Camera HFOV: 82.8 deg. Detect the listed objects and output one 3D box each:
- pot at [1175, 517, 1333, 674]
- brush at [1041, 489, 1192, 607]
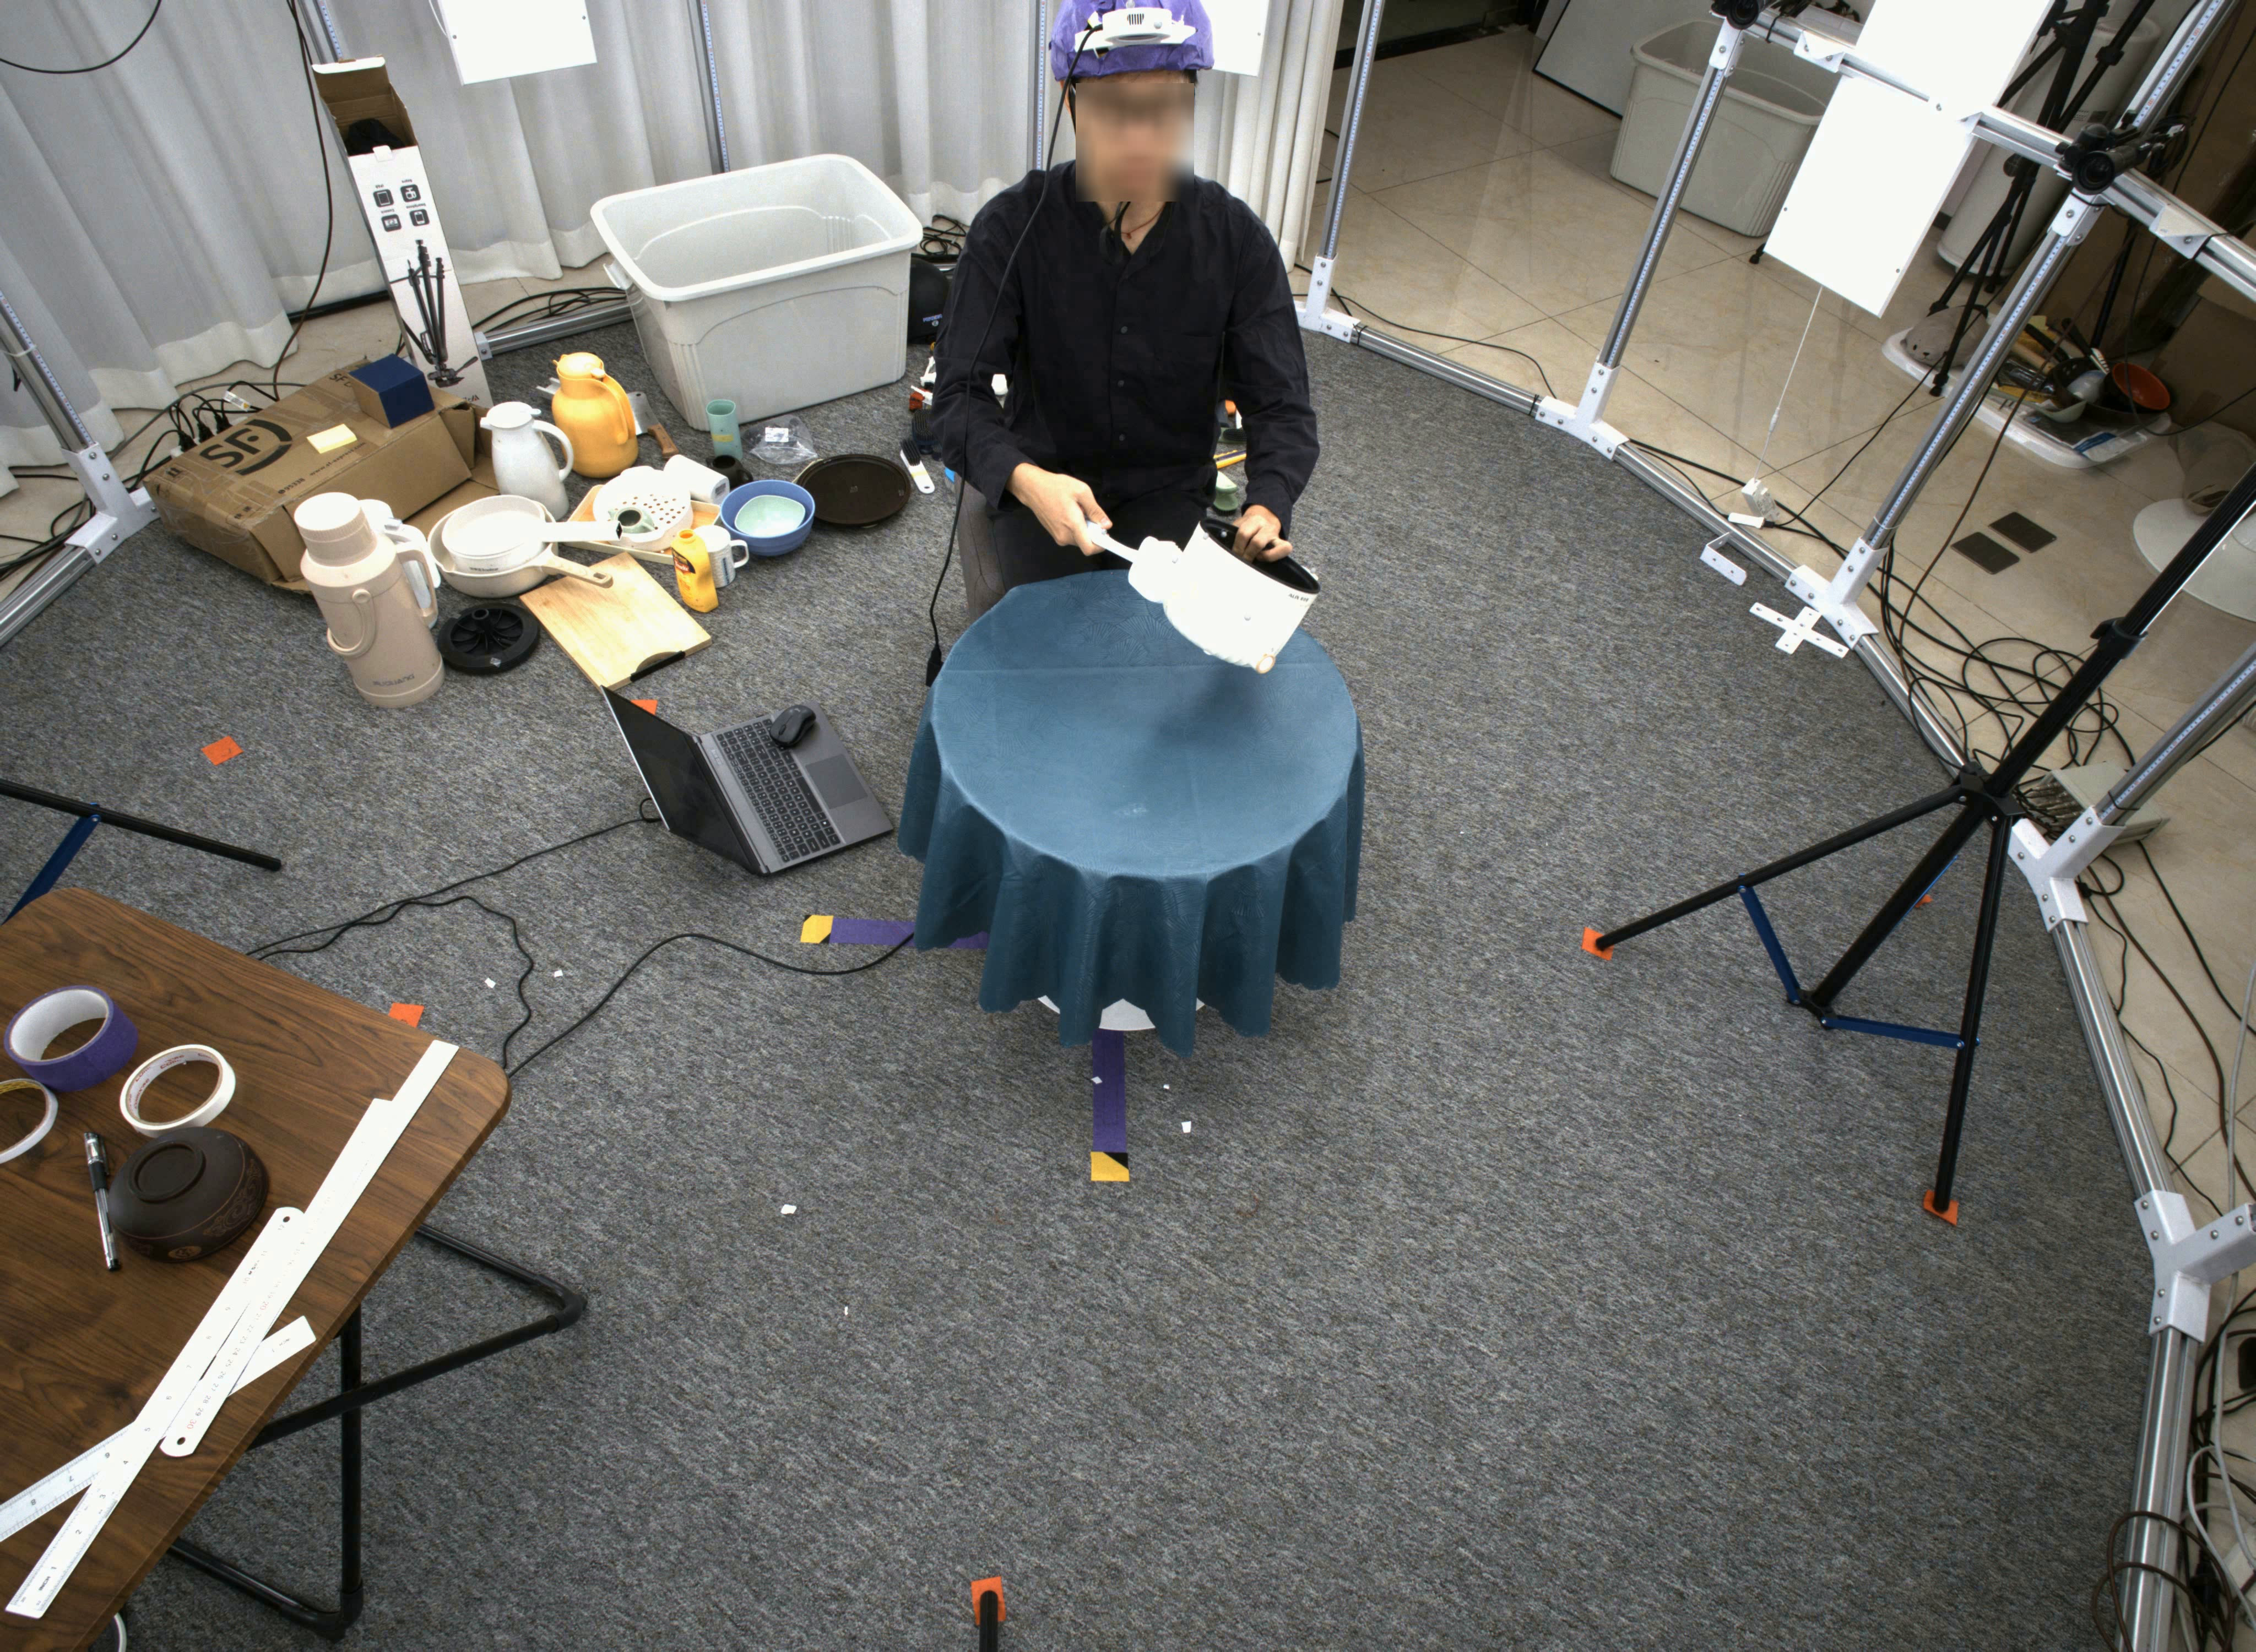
[{"bbox_3d":[0.162,-0.299,1.698,0.239,0.141,0.194,2,34,-46],"label":"pot"},{"bbox_3d":[-0.005,-0.380,1.722,0.083,0.082,0.332,-39,46,-5],"label":"brush"}]
